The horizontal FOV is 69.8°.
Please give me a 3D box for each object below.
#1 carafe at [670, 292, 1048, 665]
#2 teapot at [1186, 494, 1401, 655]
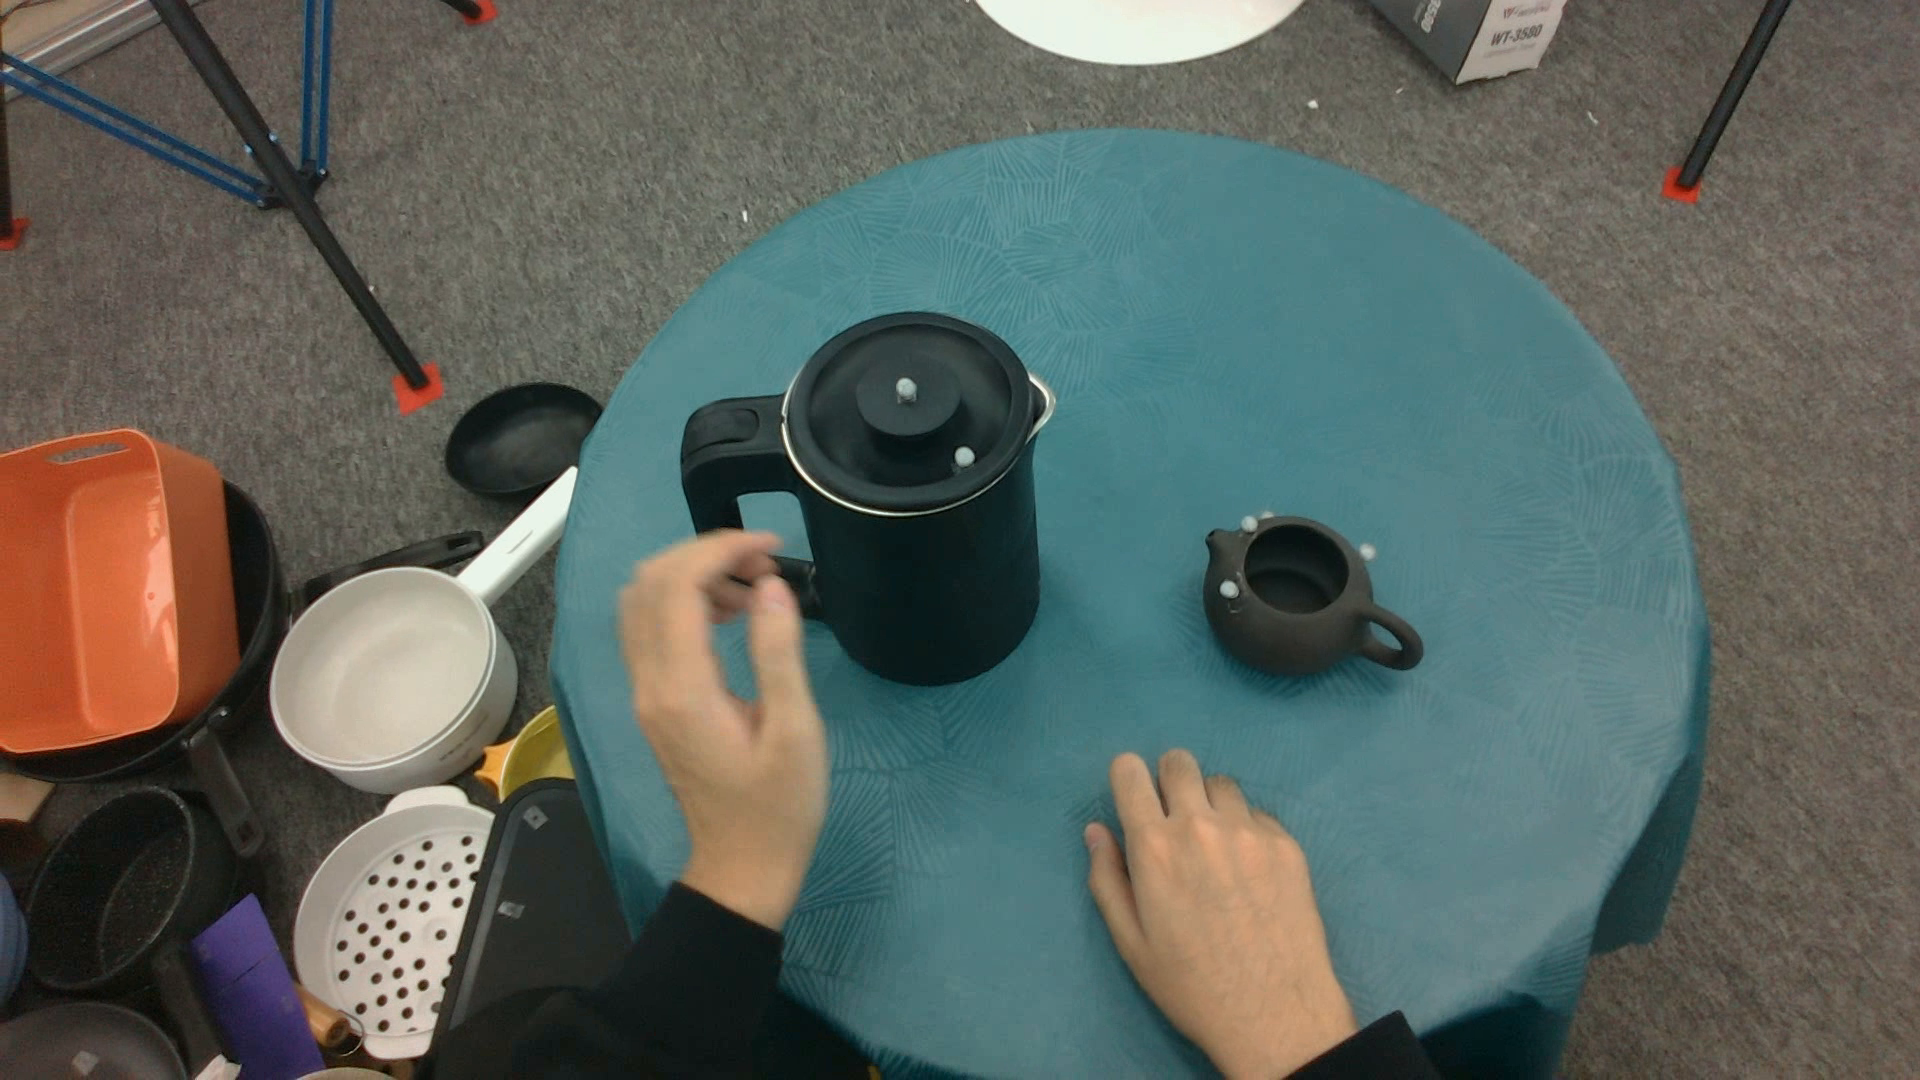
[{"bbox_3d":[-0.047,-0.024,0.649,0.171,0.172,0.115,-5,60,-2],"label":"carafe"},{"bbox_3d":[0.164,0.022,0.678,0.114,0.053,0.083,31,66,23],"label":"teapot"}]
